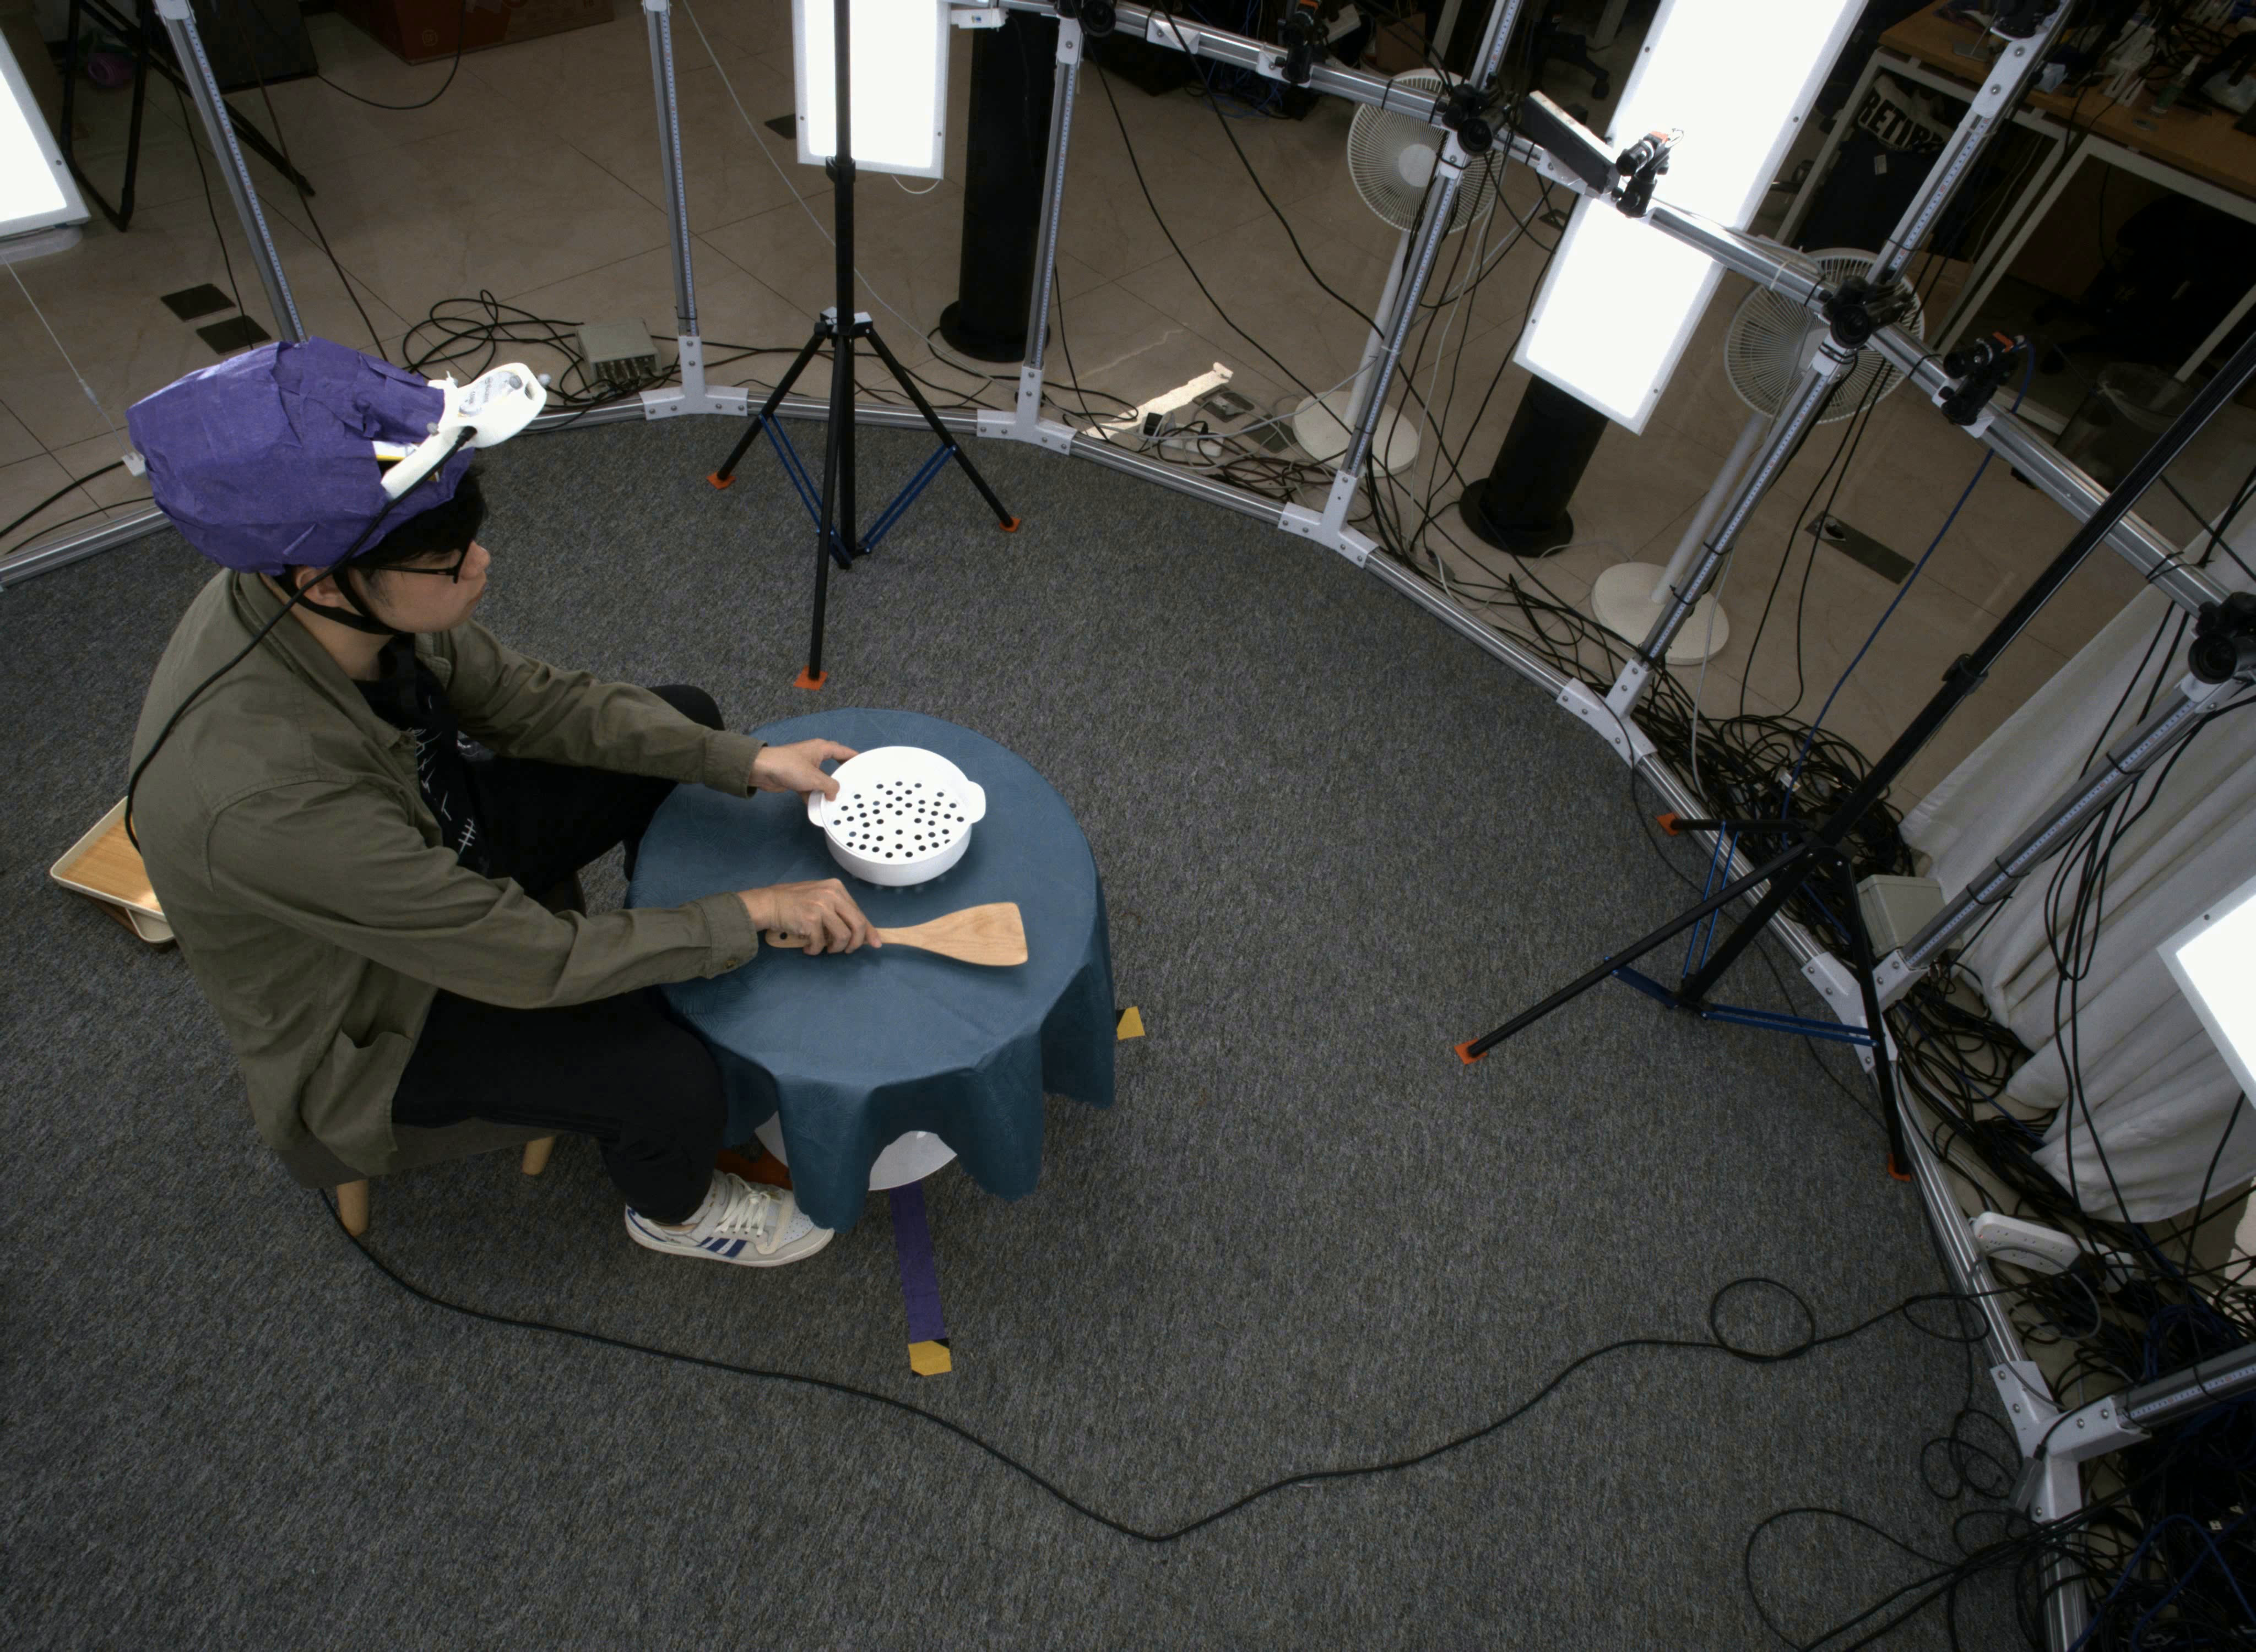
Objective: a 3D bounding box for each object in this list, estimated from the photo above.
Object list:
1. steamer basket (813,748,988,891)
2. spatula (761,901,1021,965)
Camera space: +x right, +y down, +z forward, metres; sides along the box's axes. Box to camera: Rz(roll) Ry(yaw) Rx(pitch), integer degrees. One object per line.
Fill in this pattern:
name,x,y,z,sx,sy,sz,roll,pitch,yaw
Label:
steamer basket,-0.300,-0.010,1.732,0.230,0.071,0.197,-2,52,-9
spatula,-0.298,0.135,1.637,0.326,0.016,0.080,0,81,-7
